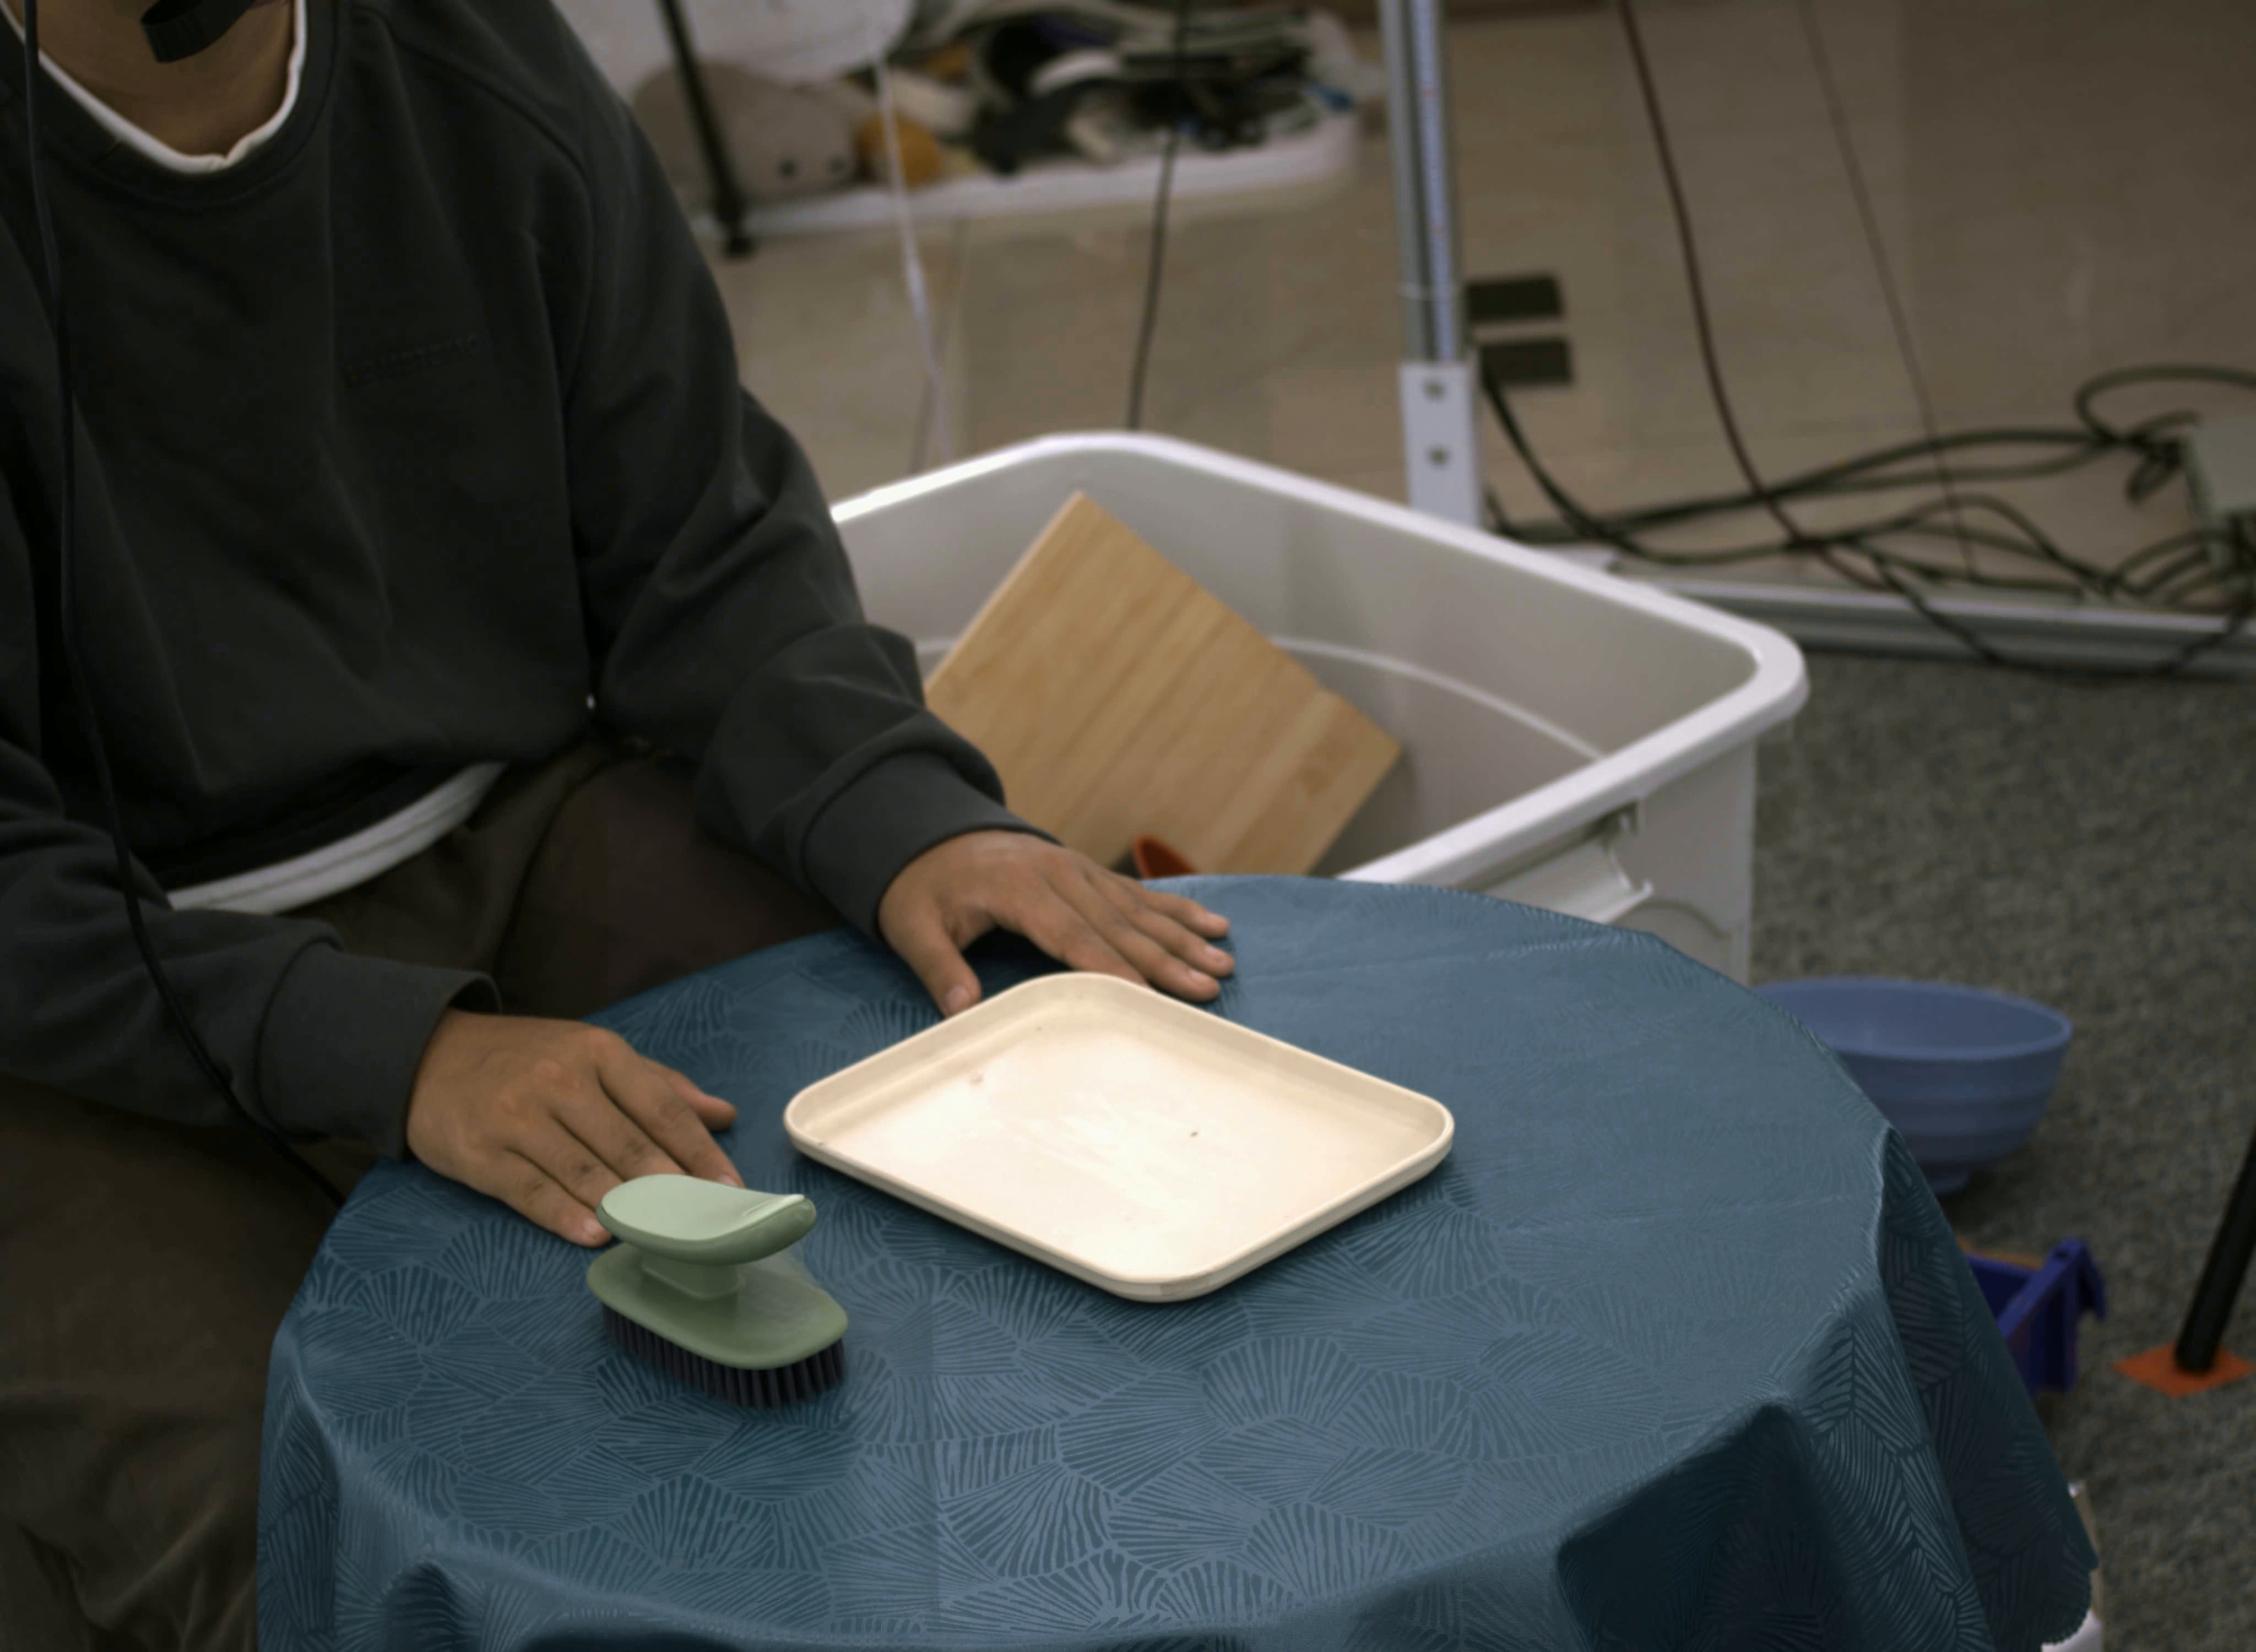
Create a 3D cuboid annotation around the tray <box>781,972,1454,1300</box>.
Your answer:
[{"bbox_3d":[-0.005,0.118,2.173,0.170,0.018,0.238,-25,30,-36],"label":"tray"}]

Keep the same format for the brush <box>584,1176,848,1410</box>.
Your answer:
[{"bbox_3d":[-0.149,0.167,2.060,0.059,0.076,0.122,-24,16,-35],"label":"brush"}]
